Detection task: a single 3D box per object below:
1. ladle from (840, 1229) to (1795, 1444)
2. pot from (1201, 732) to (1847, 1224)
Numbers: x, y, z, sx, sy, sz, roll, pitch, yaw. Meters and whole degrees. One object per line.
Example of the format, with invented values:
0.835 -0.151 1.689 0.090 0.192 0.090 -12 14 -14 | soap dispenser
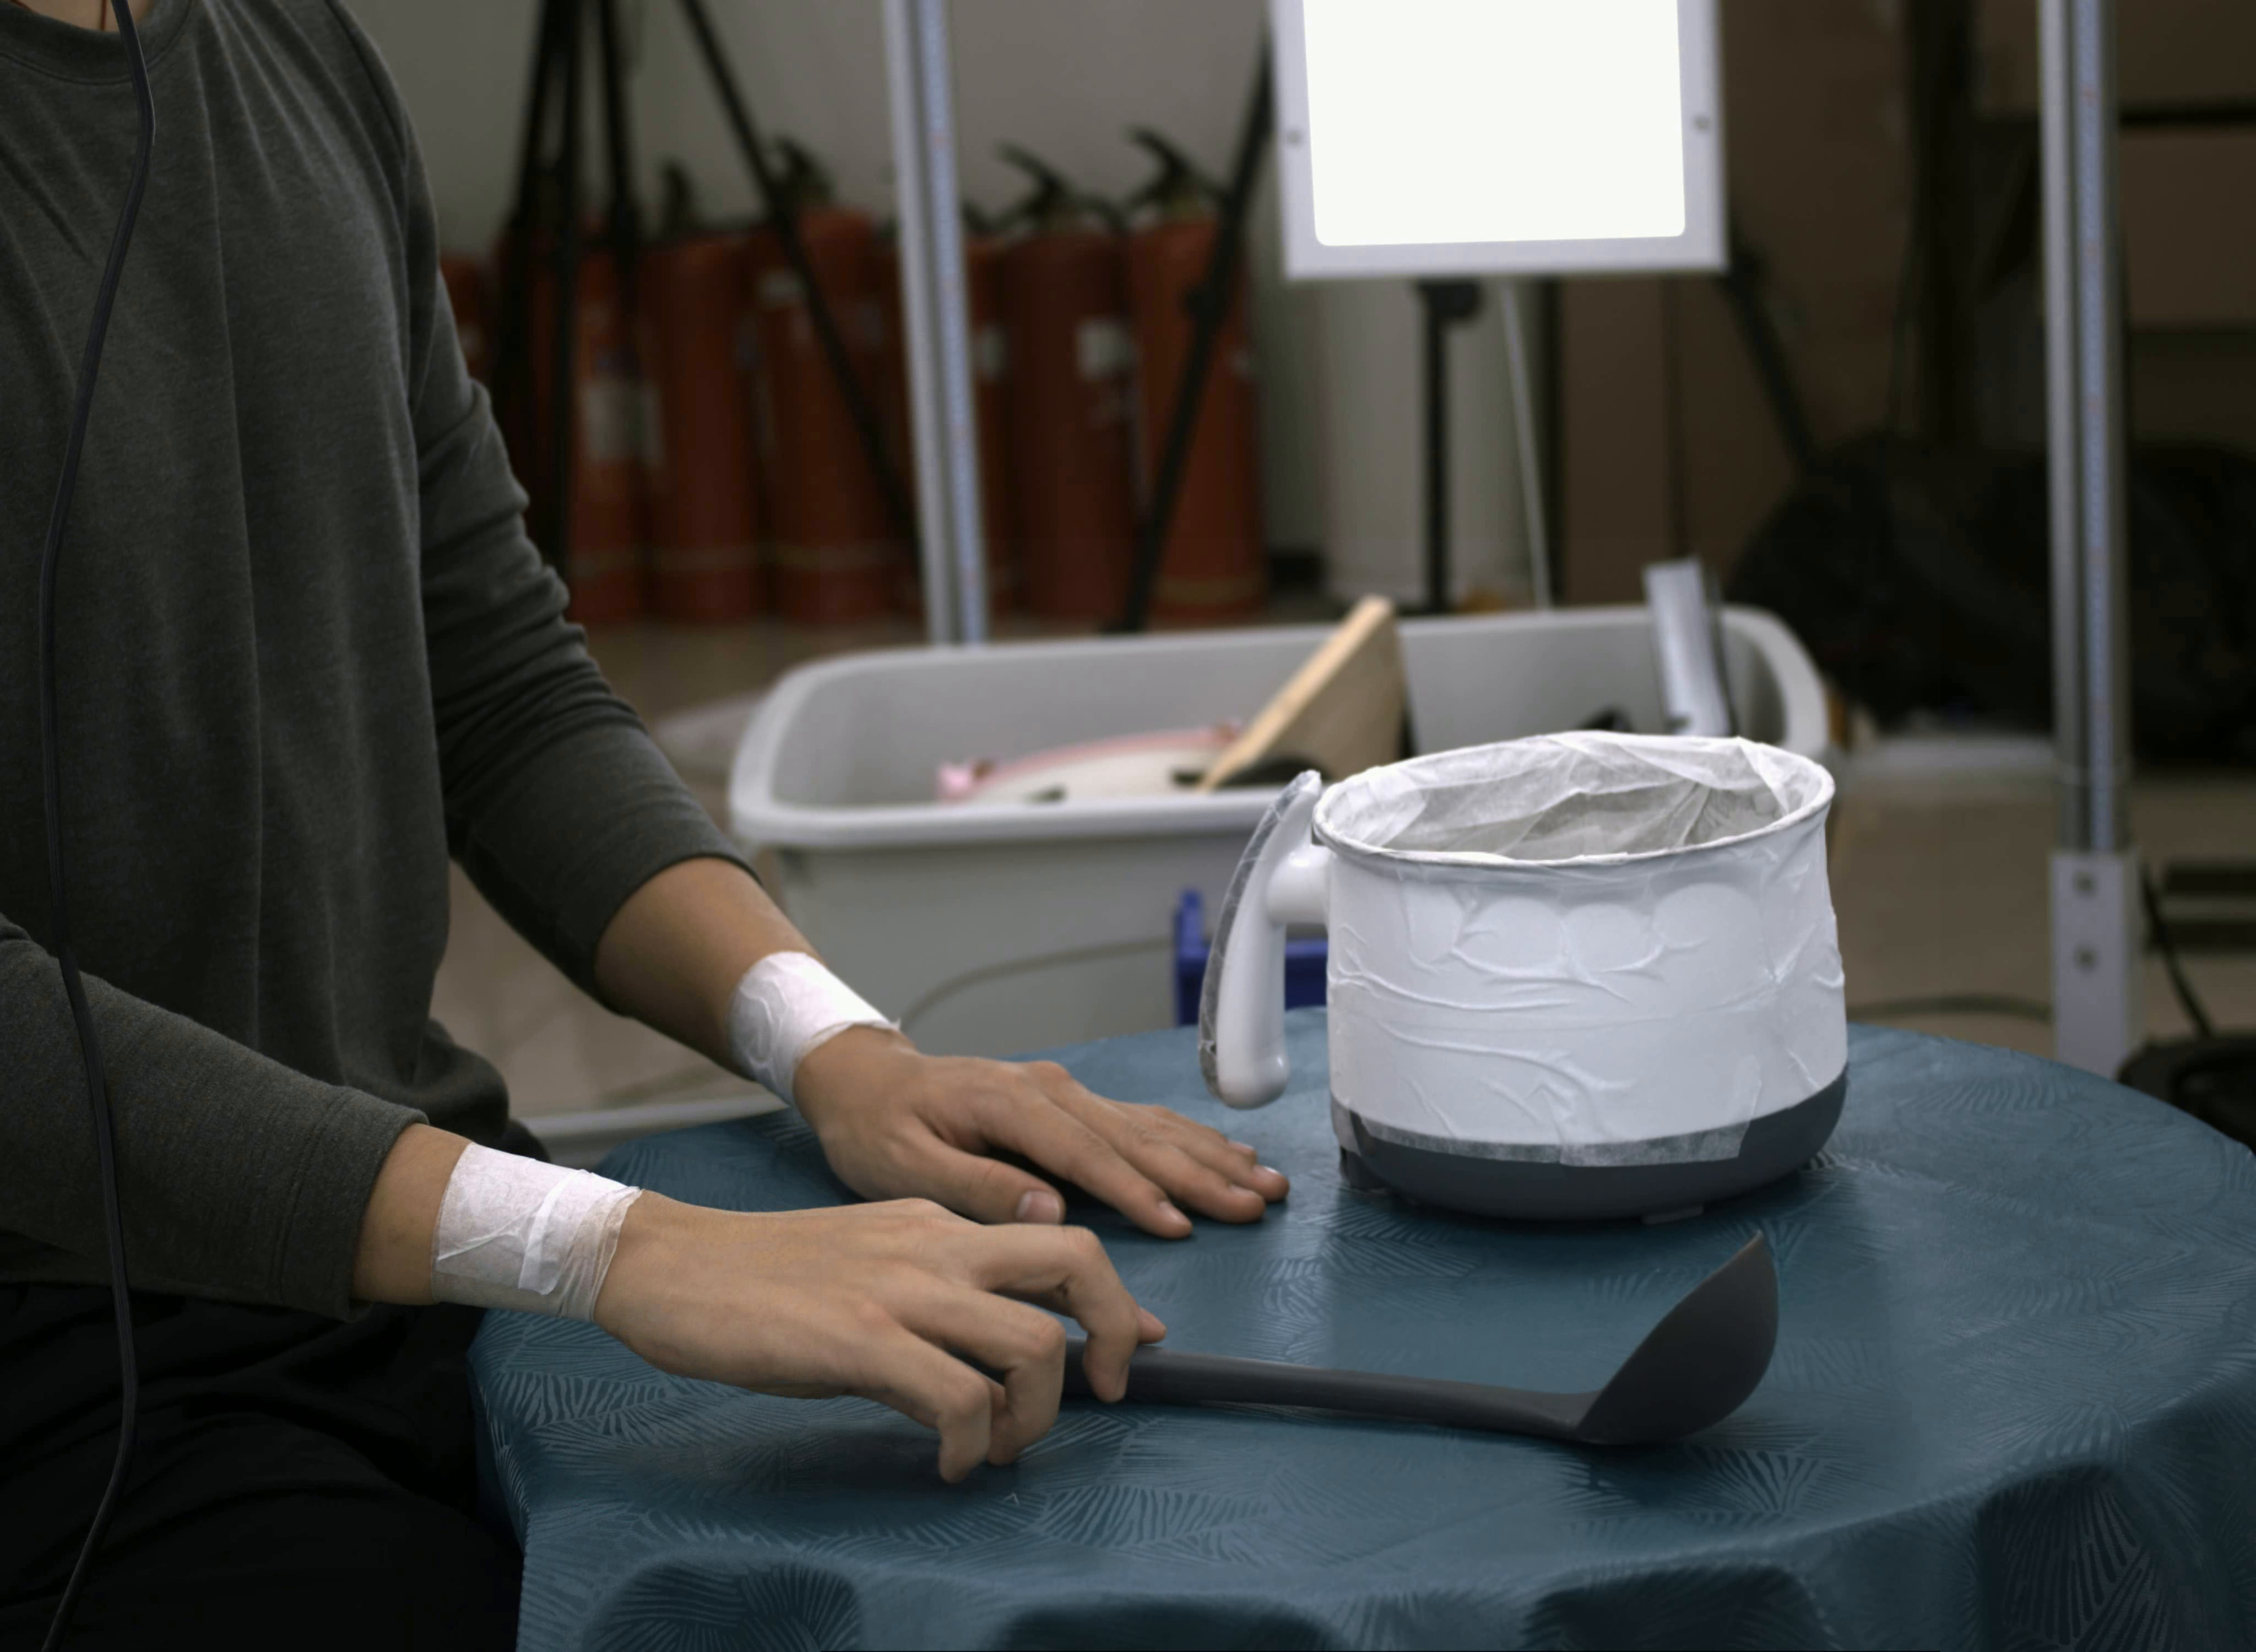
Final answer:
0.050 0.147 1.665 0.319 0.064 0.084 2 9 28 | ladle
0.131 0.049 1.881 0.238 0.137 0.175 2 15 28 | pot
